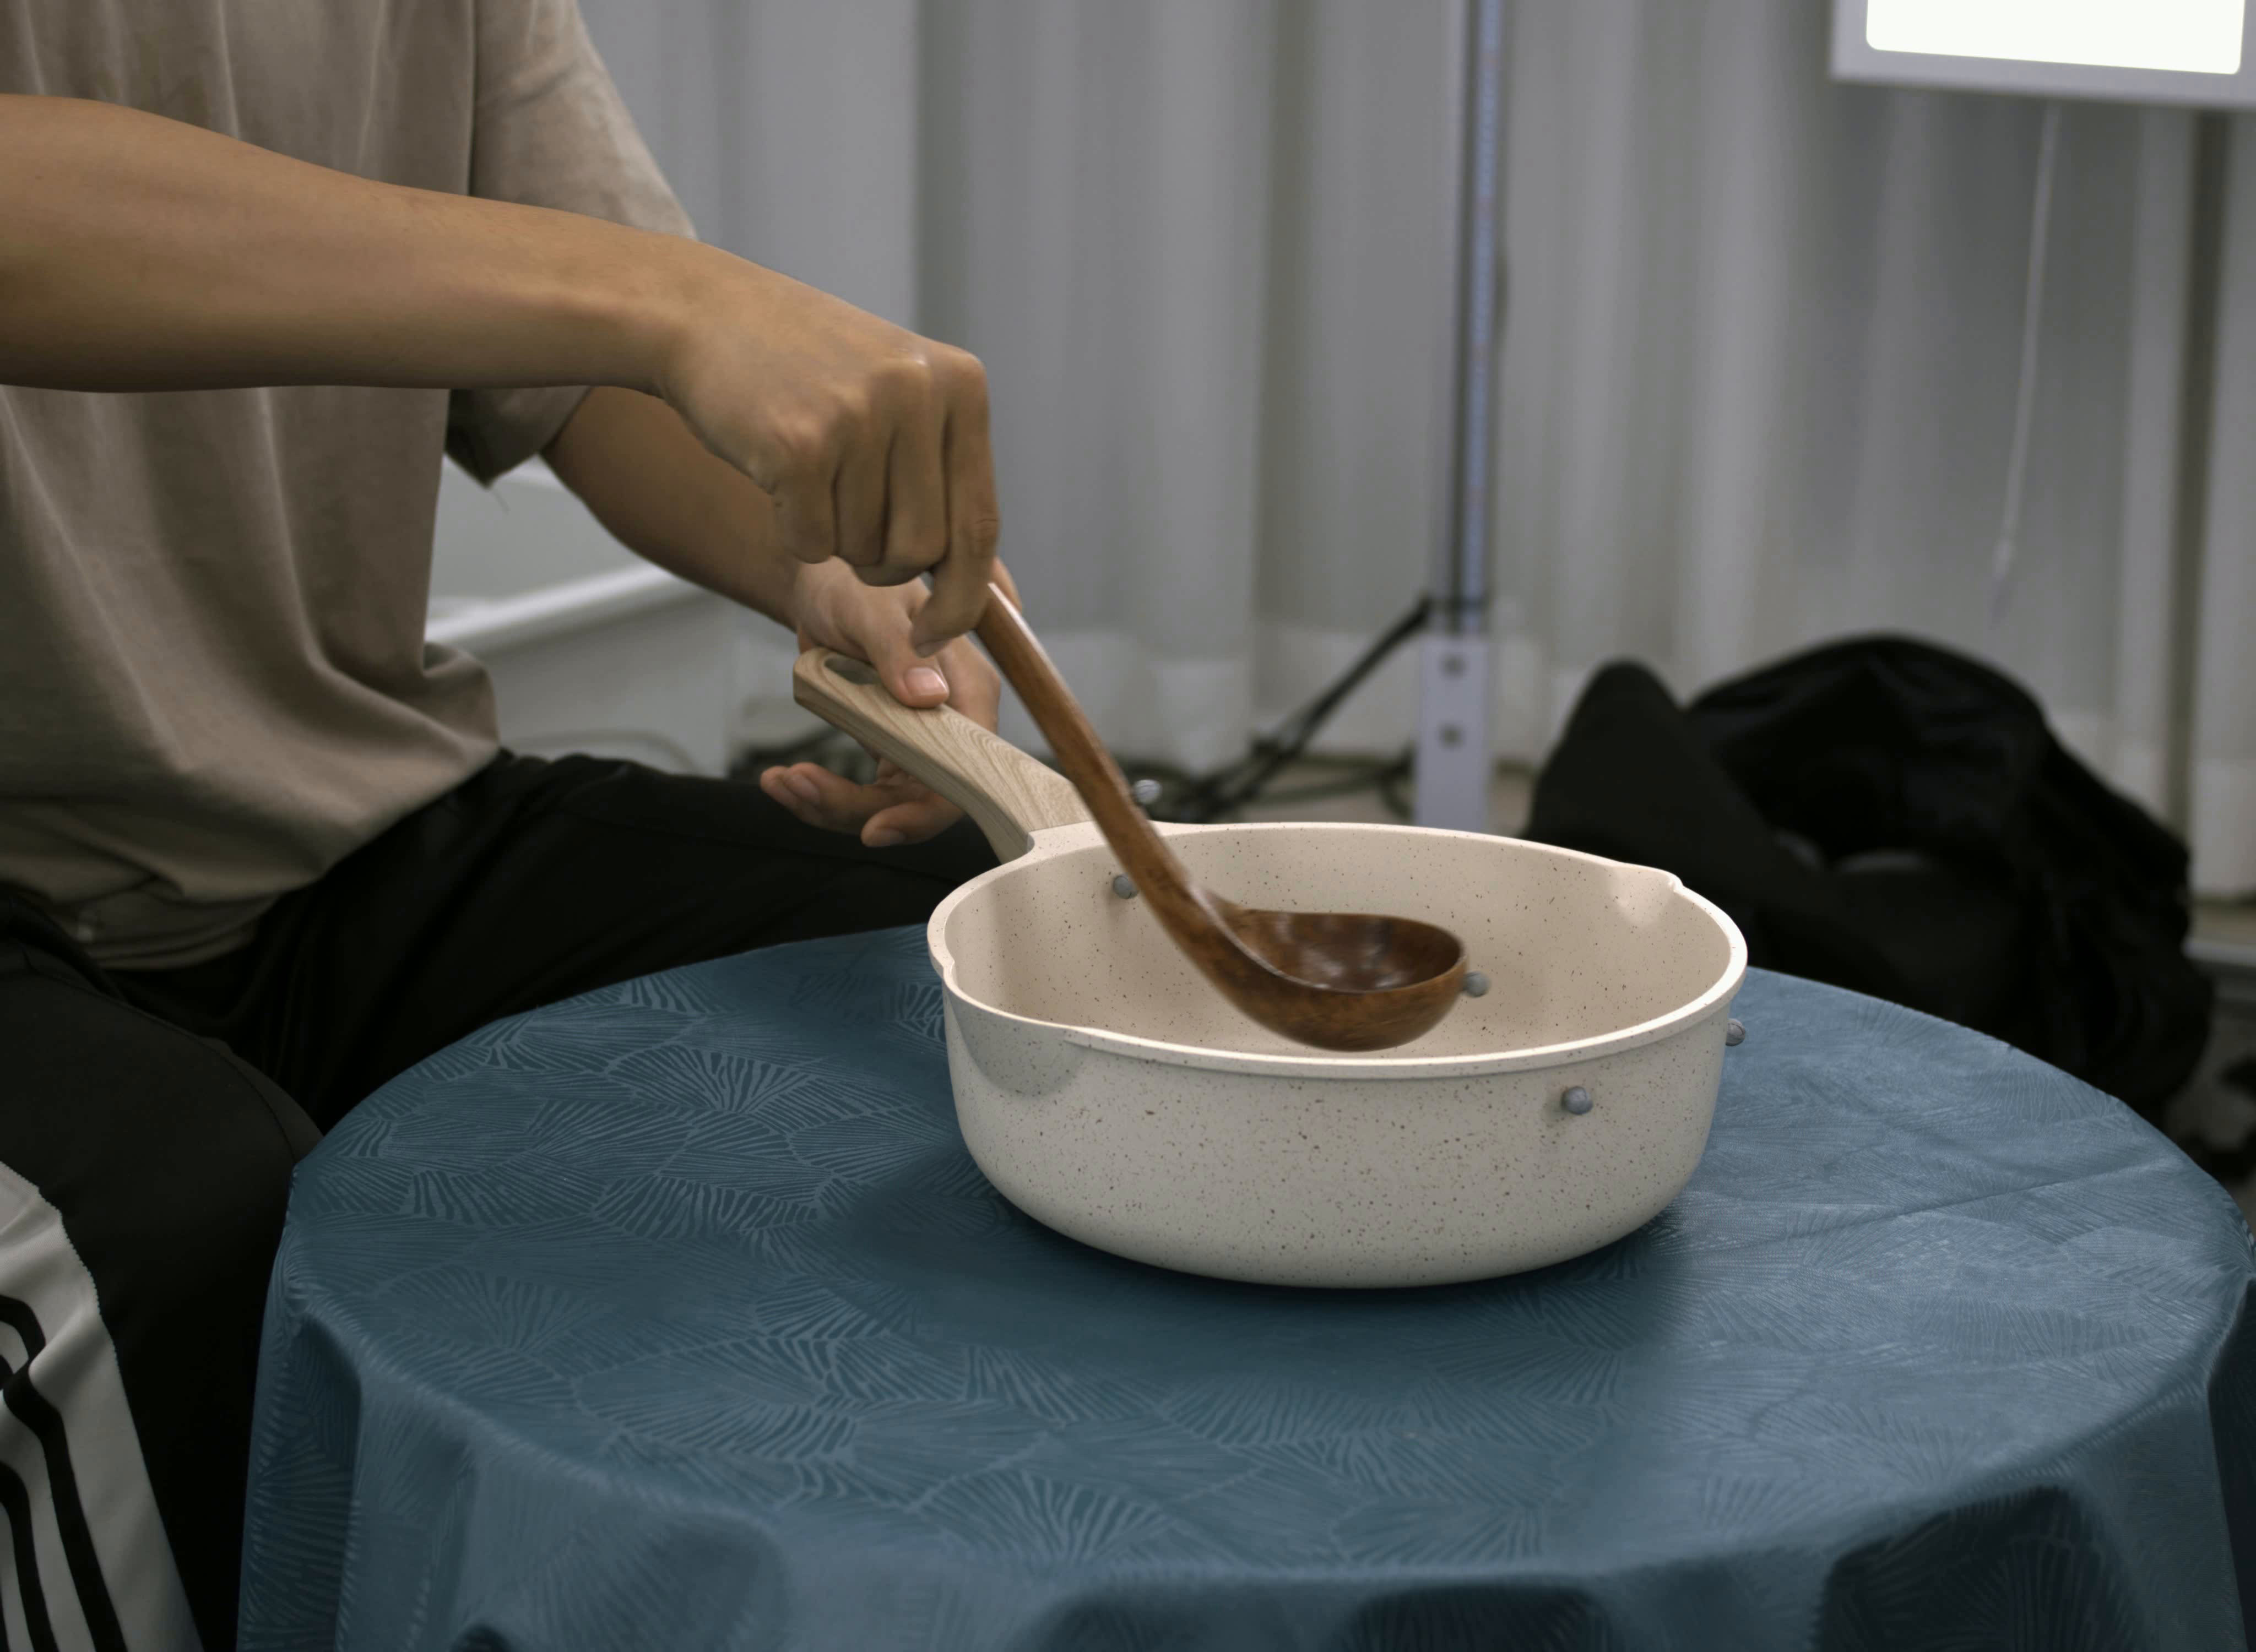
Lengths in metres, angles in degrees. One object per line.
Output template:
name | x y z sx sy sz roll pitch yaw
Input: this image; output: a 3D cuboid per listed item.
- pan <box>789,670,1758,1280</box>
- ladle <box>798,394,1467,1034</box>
pan | 0.016 0.042 1.694 0.264 0.103 0.429 -12 20 -33
ladle | 0.006 -0.038 1.633 0.076 0.276 0.081 -34 15 4
